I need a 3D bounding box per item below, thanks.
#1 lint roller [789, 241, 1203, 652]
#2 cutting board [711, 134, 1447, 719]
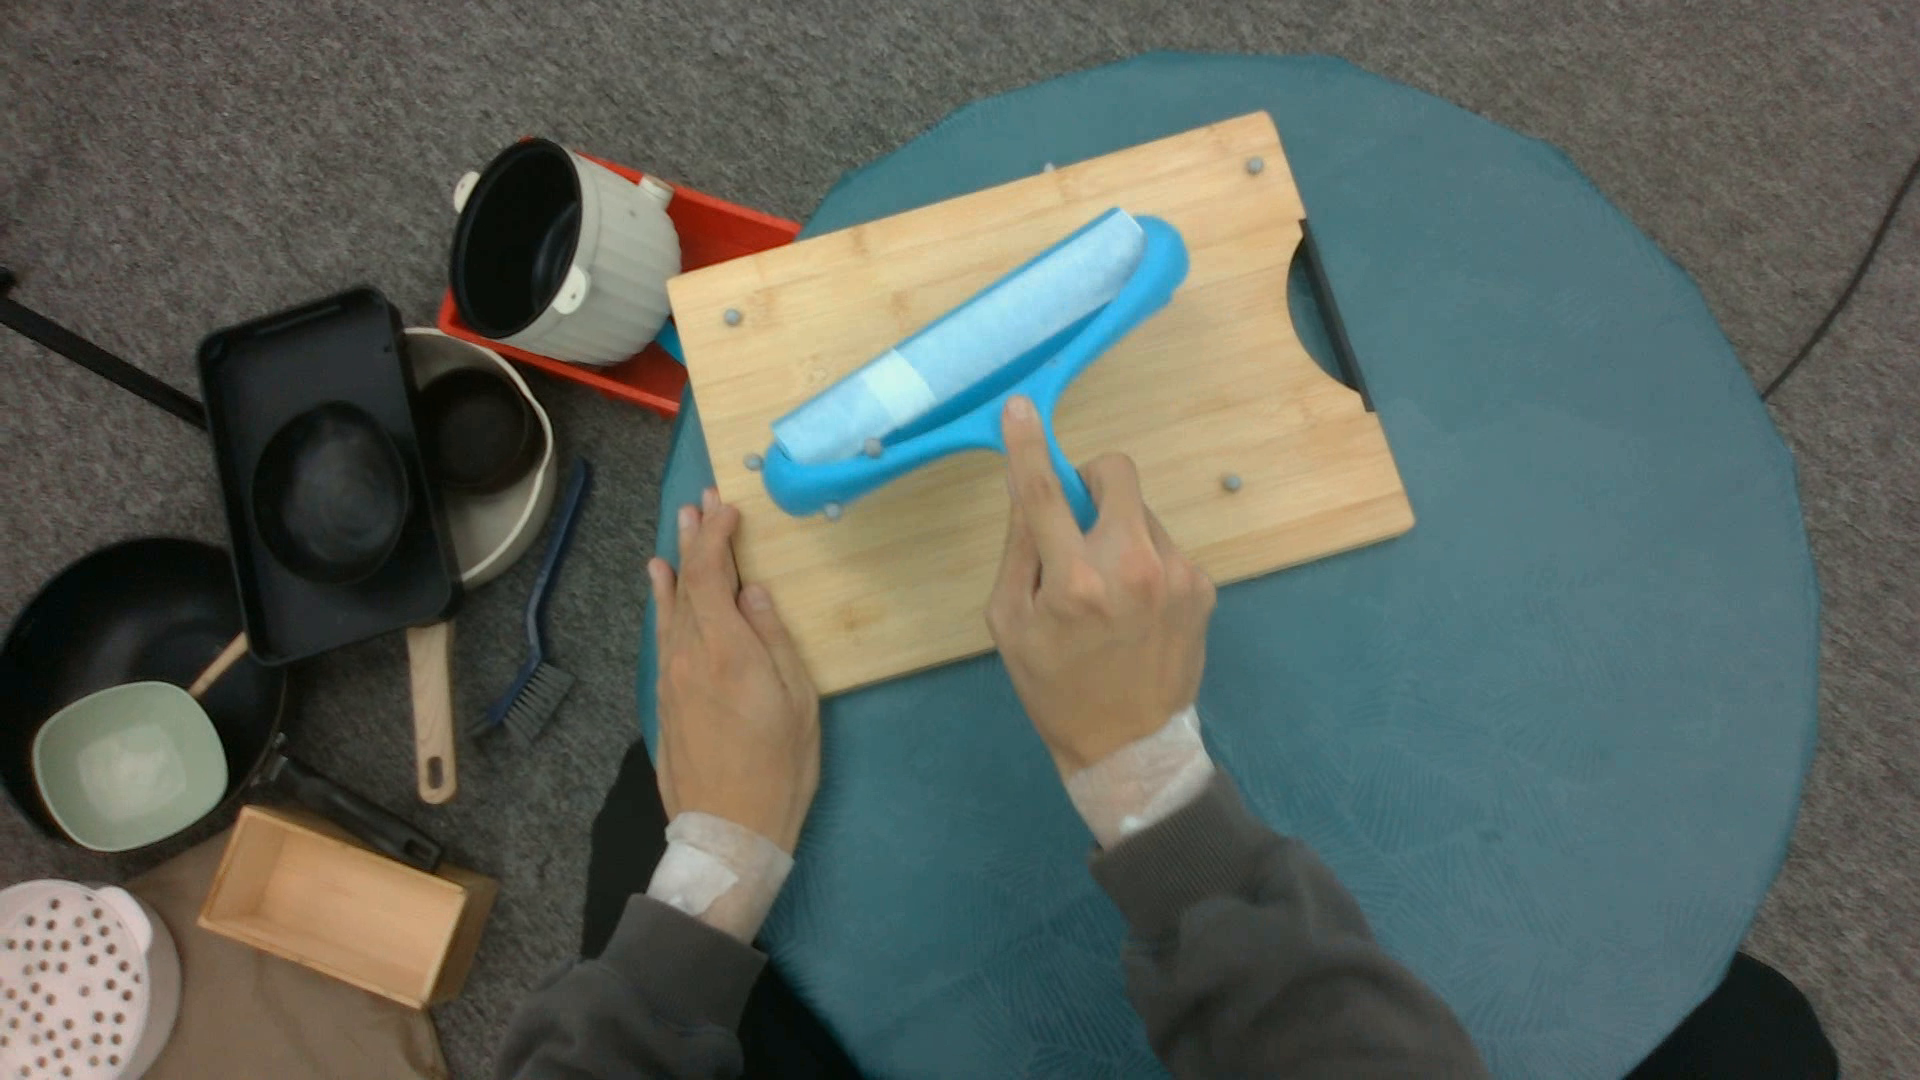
[{"bbox_3d":[0.044,-0.031,0.633,0.229,0.068,0.180,-34,55,-1],"label":"lint roller"},{"bbox_3d":[0.053,-0.065,0.744,0.348,0.023,0.251,-17,77,1],"label":"cutting board"}]
